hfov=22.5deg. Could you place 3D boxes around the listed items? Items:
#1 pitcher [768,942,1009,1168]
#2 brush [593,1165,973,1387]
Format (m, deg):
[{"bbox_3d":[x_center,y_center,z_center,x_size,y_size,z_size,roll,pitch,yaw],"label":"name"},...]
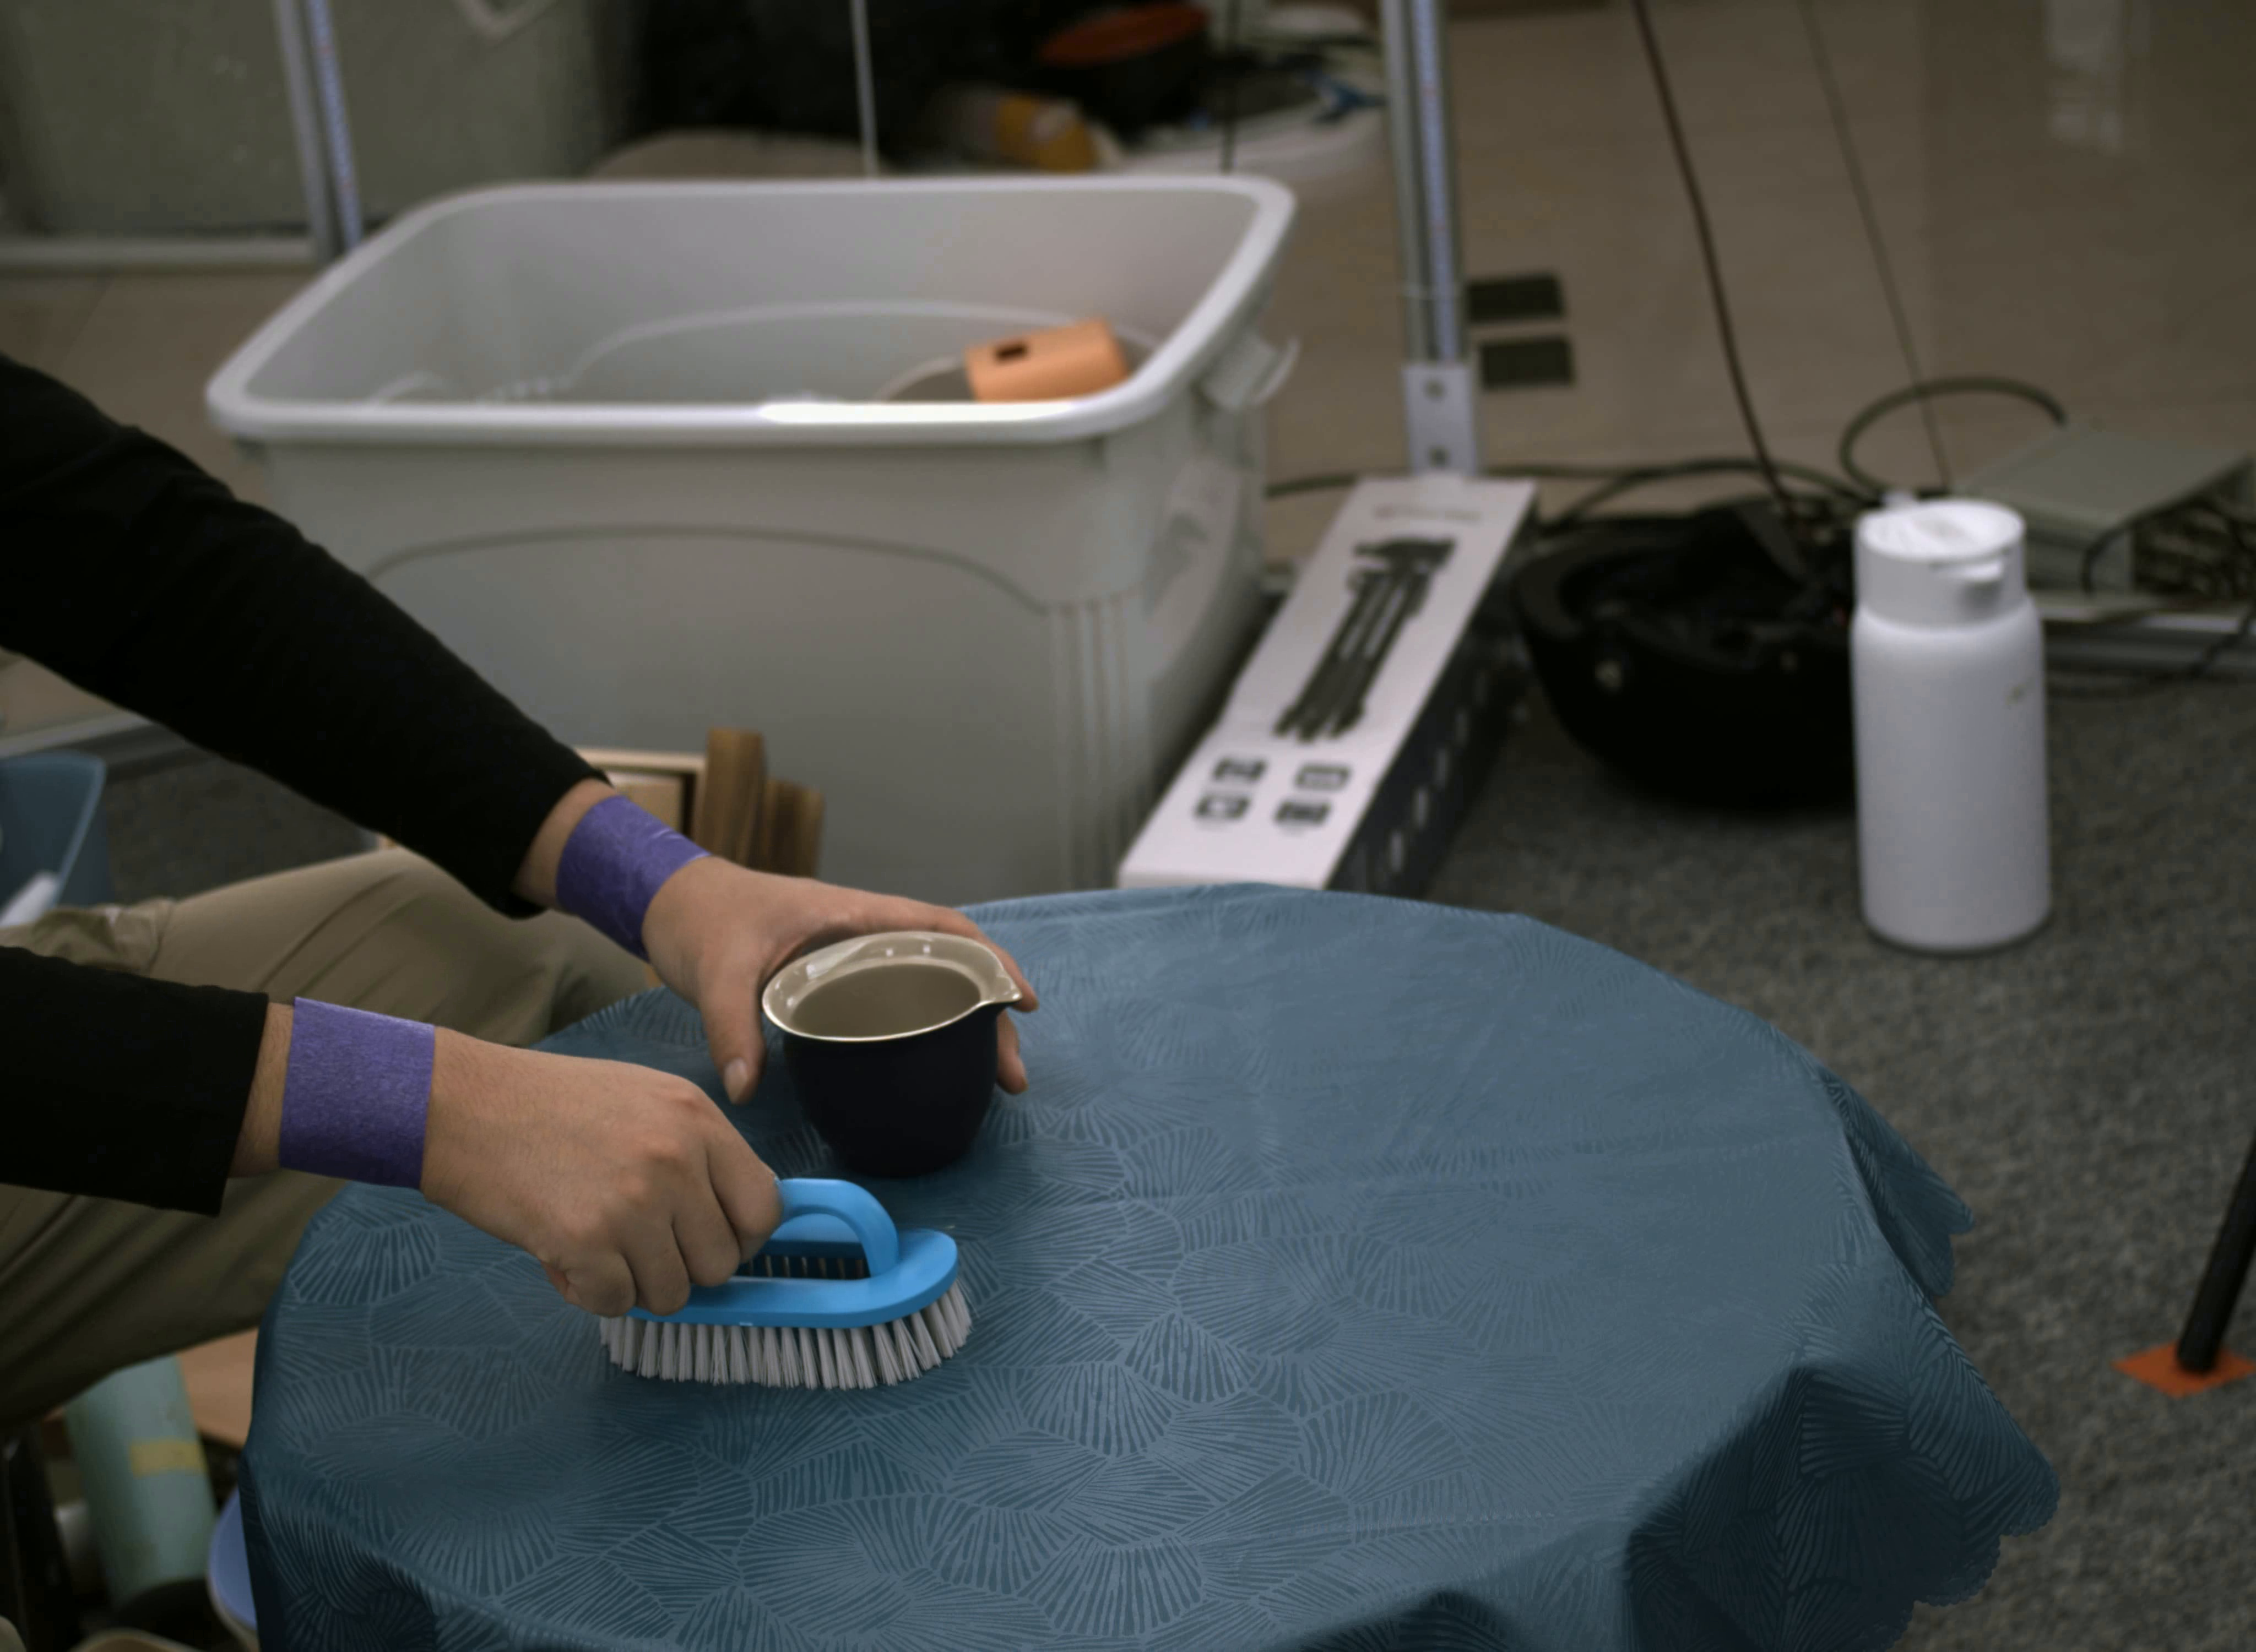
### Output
[{"bbox_3d":[-0.089,0.090,2.183,0.095,0.072,0.082,6,27,21],"label":"pitcher"},{"bbox_3d":[-0.130,0.154,2.065,0.141,0.065,0.083,1,30,18],"label":"brush"}]
